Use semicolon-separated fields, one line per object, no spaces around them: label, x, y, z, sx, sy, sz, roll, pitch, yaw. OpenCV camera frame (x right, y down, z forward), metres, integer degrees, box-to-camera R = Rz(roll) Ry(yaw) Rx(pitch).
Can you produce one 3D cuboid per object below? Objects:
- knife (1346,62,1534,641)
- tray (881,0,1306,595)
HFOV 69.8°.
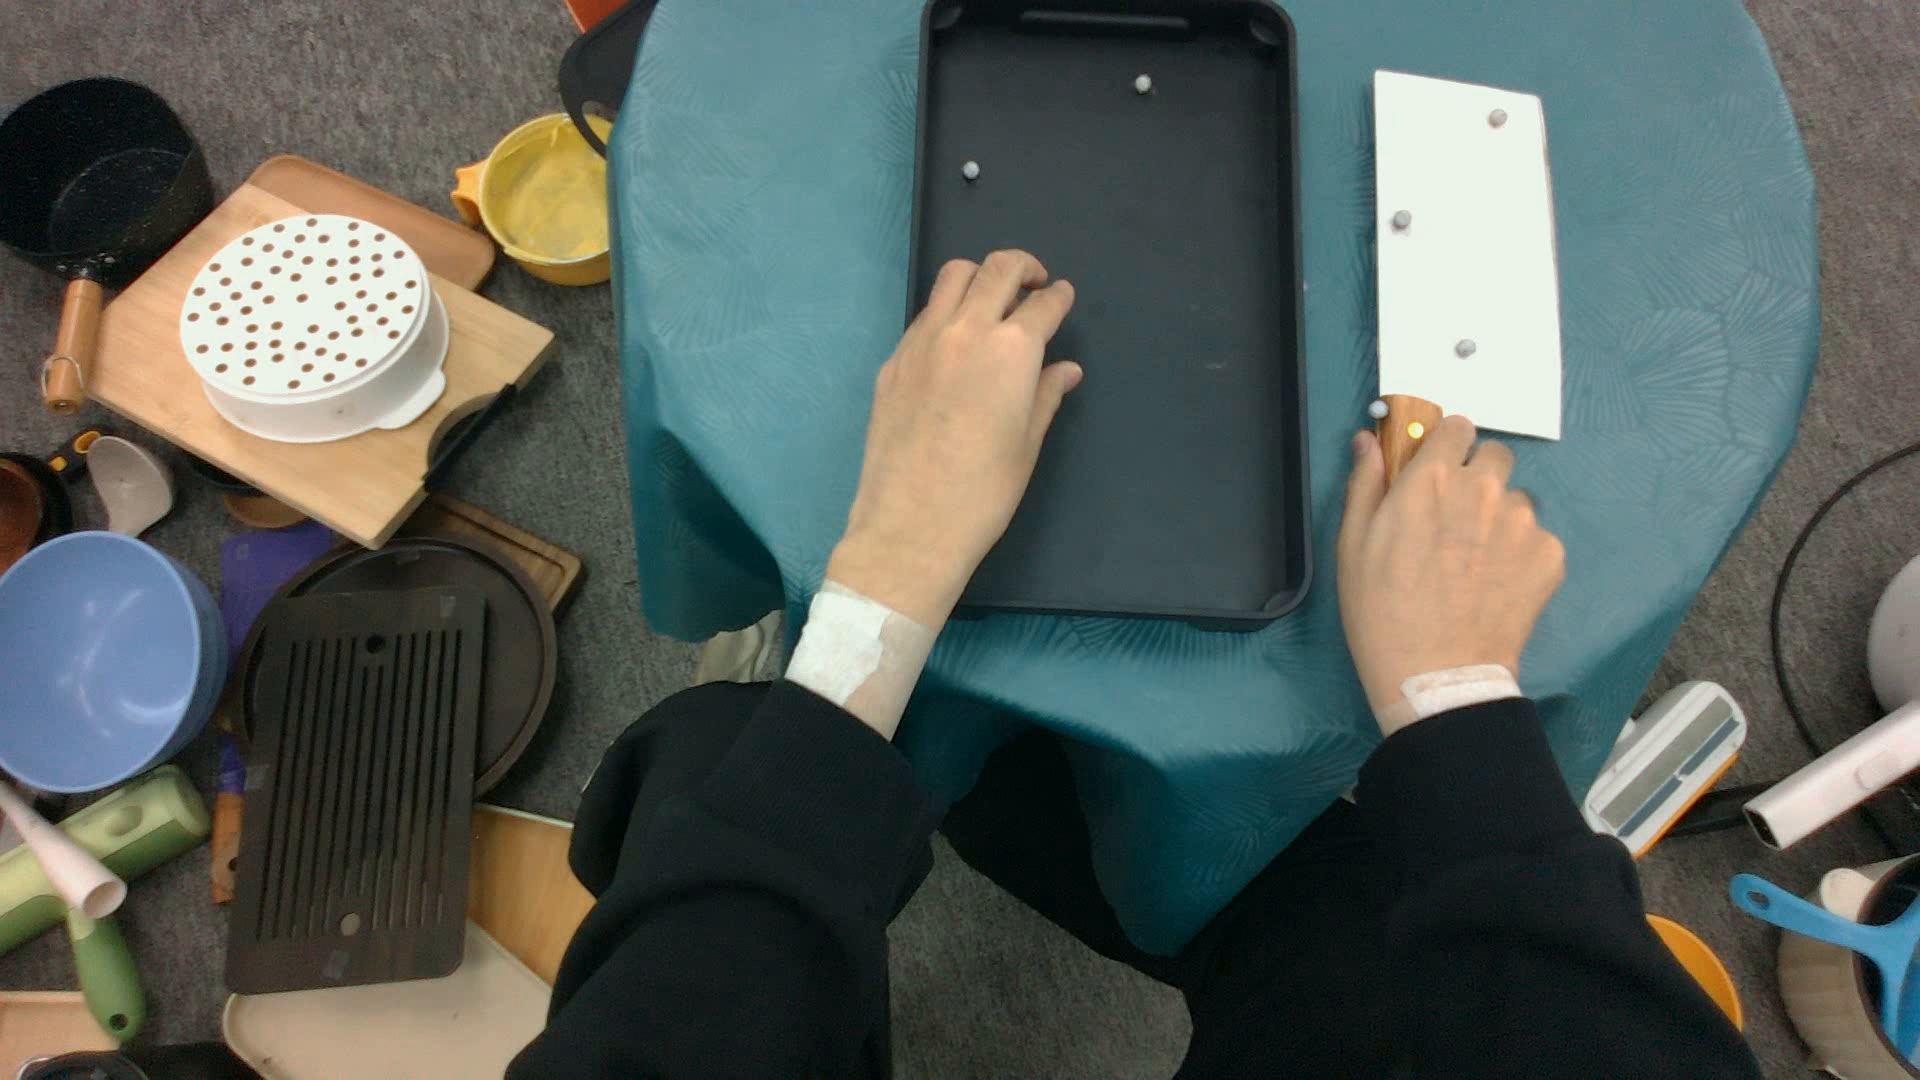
knife;0.229;-0.097;0.654;0.093;0.021;0.306;7;71;-9
tray;0.057;-0.129;0.647;0.184;0.037;0.319;1;72;-3
